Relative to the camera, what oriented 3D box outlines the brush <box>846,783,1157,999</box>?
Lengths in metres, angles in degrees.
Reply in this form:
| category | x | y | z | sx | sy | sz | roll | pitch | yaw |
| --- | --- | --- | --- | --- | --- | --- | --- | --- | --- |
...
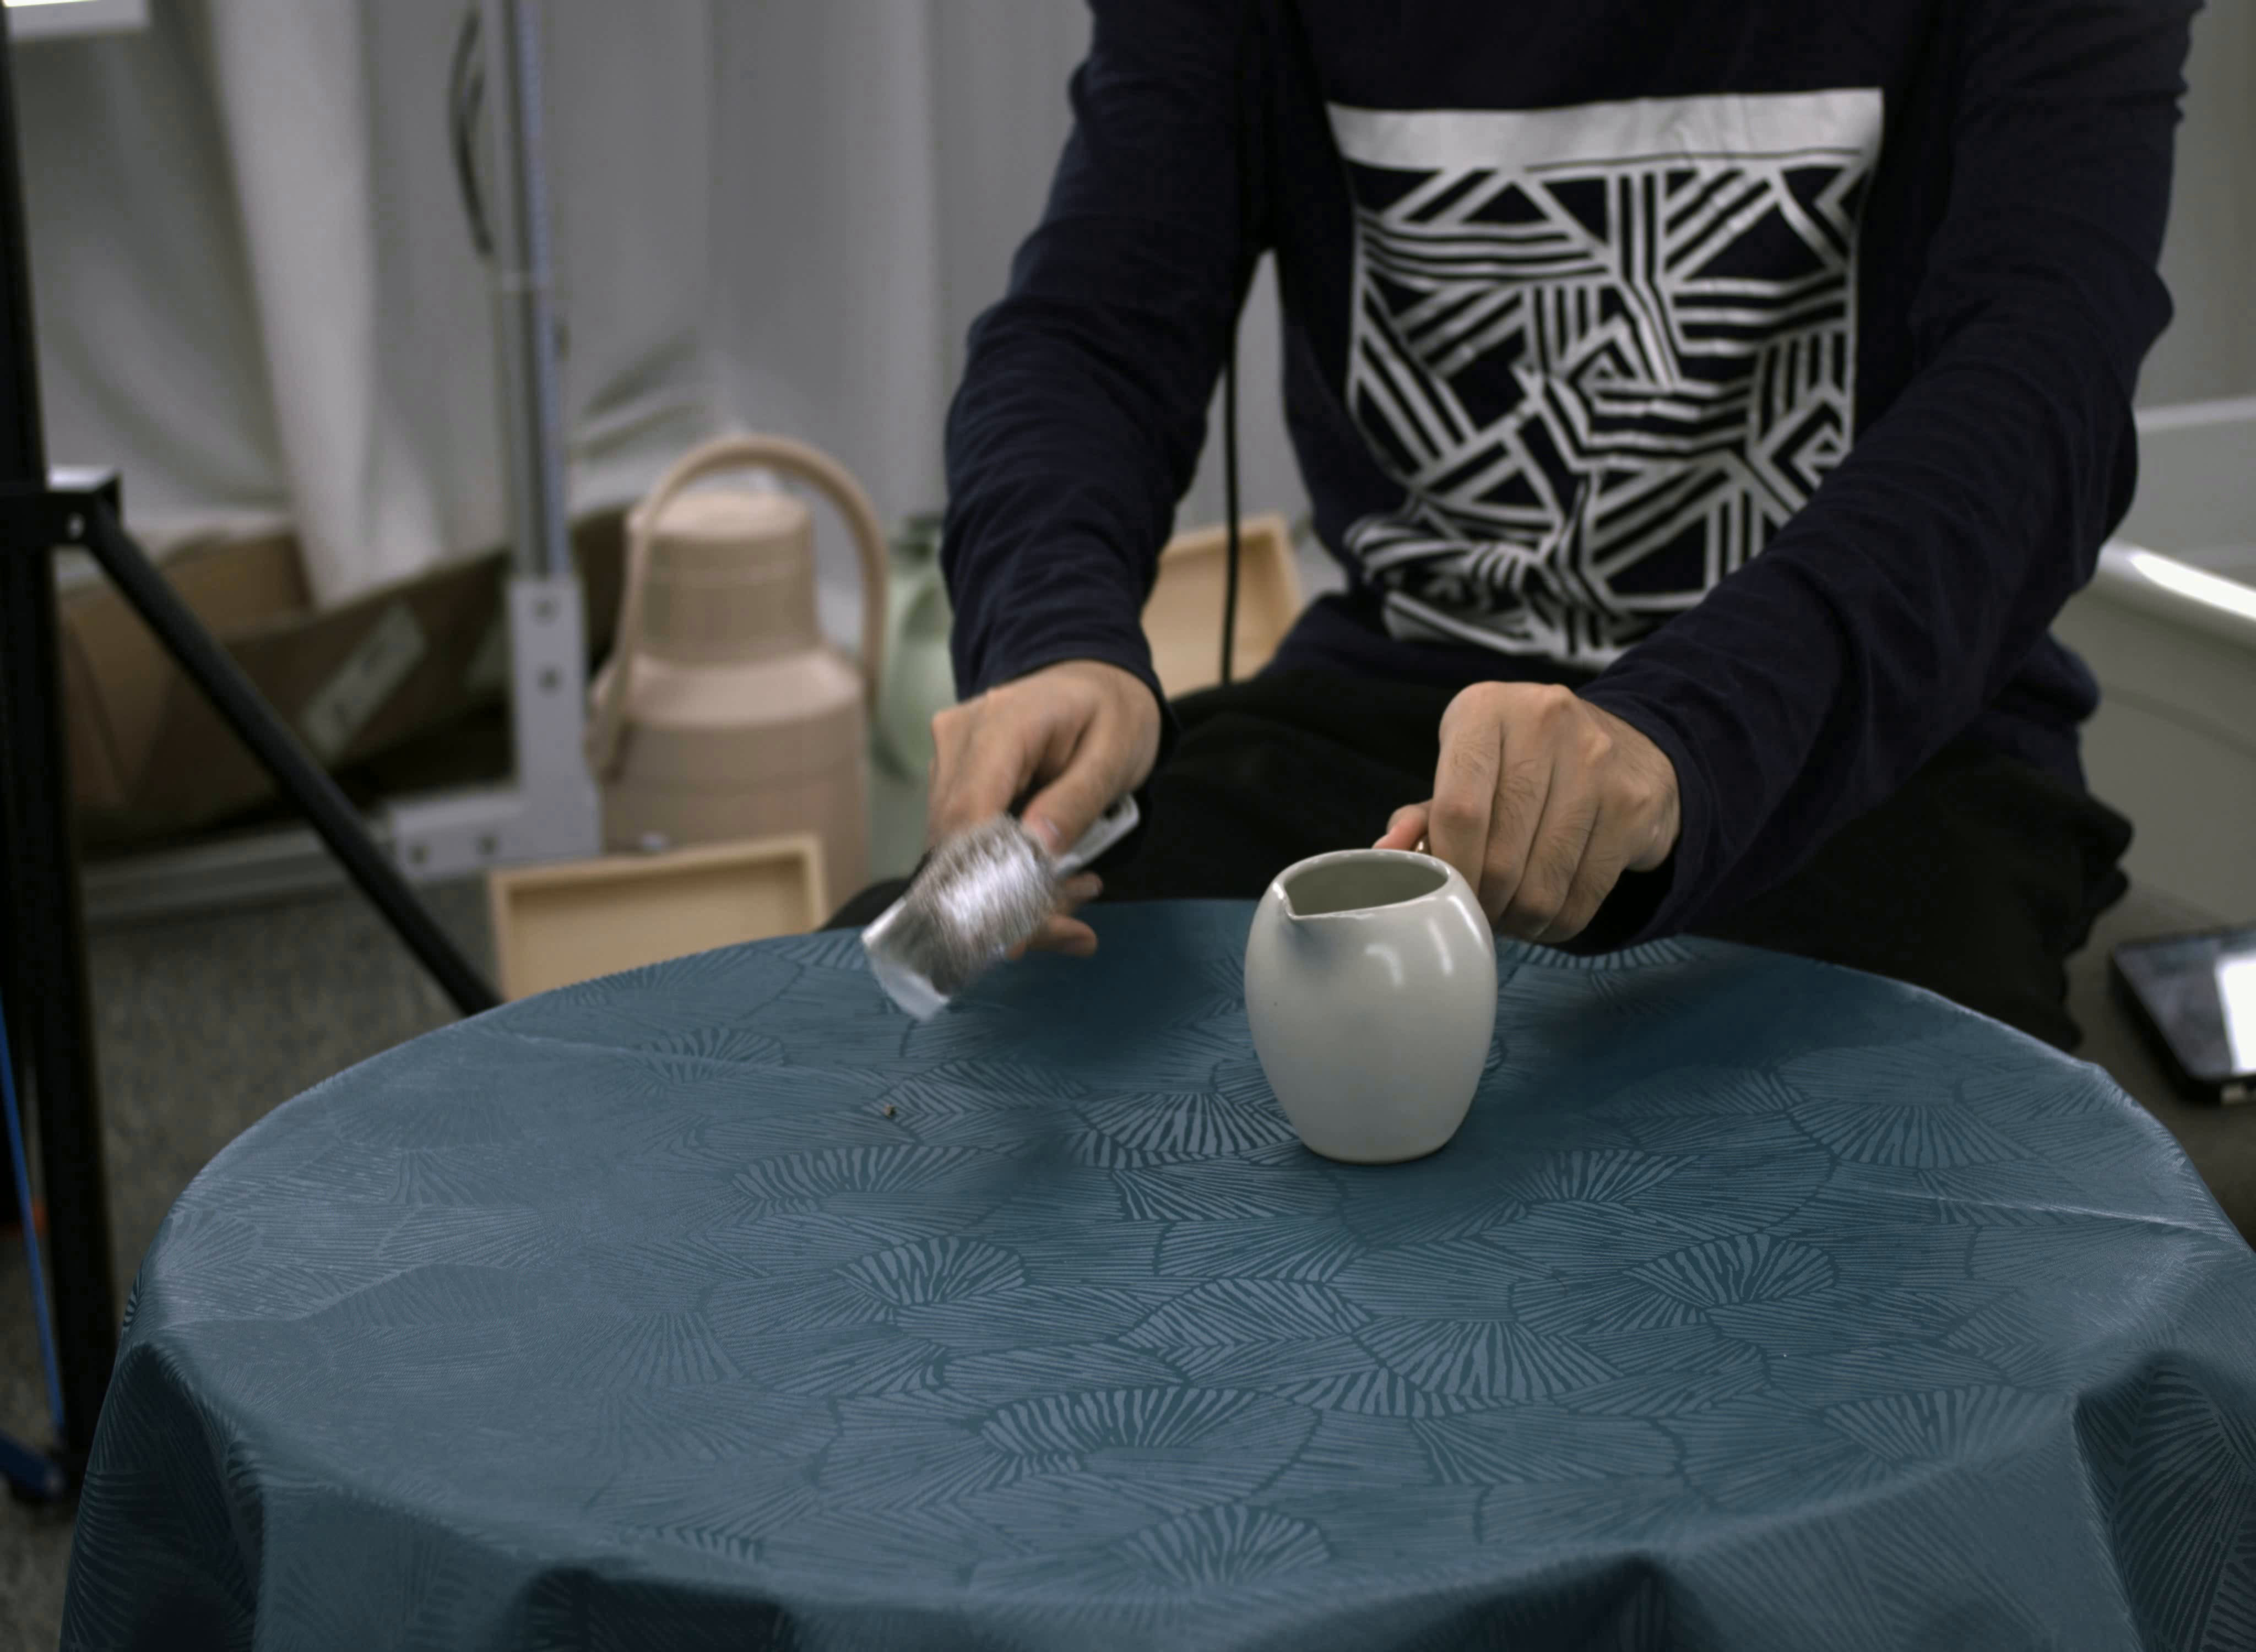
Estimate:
| category | x | y | z | sx | sy | sz | roll | pitch | yaw |
| --- | --- | --- | --- | --- | --- | --- | --- | --- | --- |
| brush | -0.025 | 0.003 | 1.675 | 0.034 | 0.050 | 0.240 | 41 | 22 | 7 |

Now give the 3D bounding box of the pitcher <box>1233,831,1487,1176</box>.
| category | x | y | z | sx | sy | sz | roll | pitch | yaw |
| --- | --- | --- | --- | --- | --- | --- | --- | --- | --- |
| pitcher | 0.073 | 0.052 | 1.579 | 0.077 | 0.087 | 0.117 | 12 | 27 | 27 |
